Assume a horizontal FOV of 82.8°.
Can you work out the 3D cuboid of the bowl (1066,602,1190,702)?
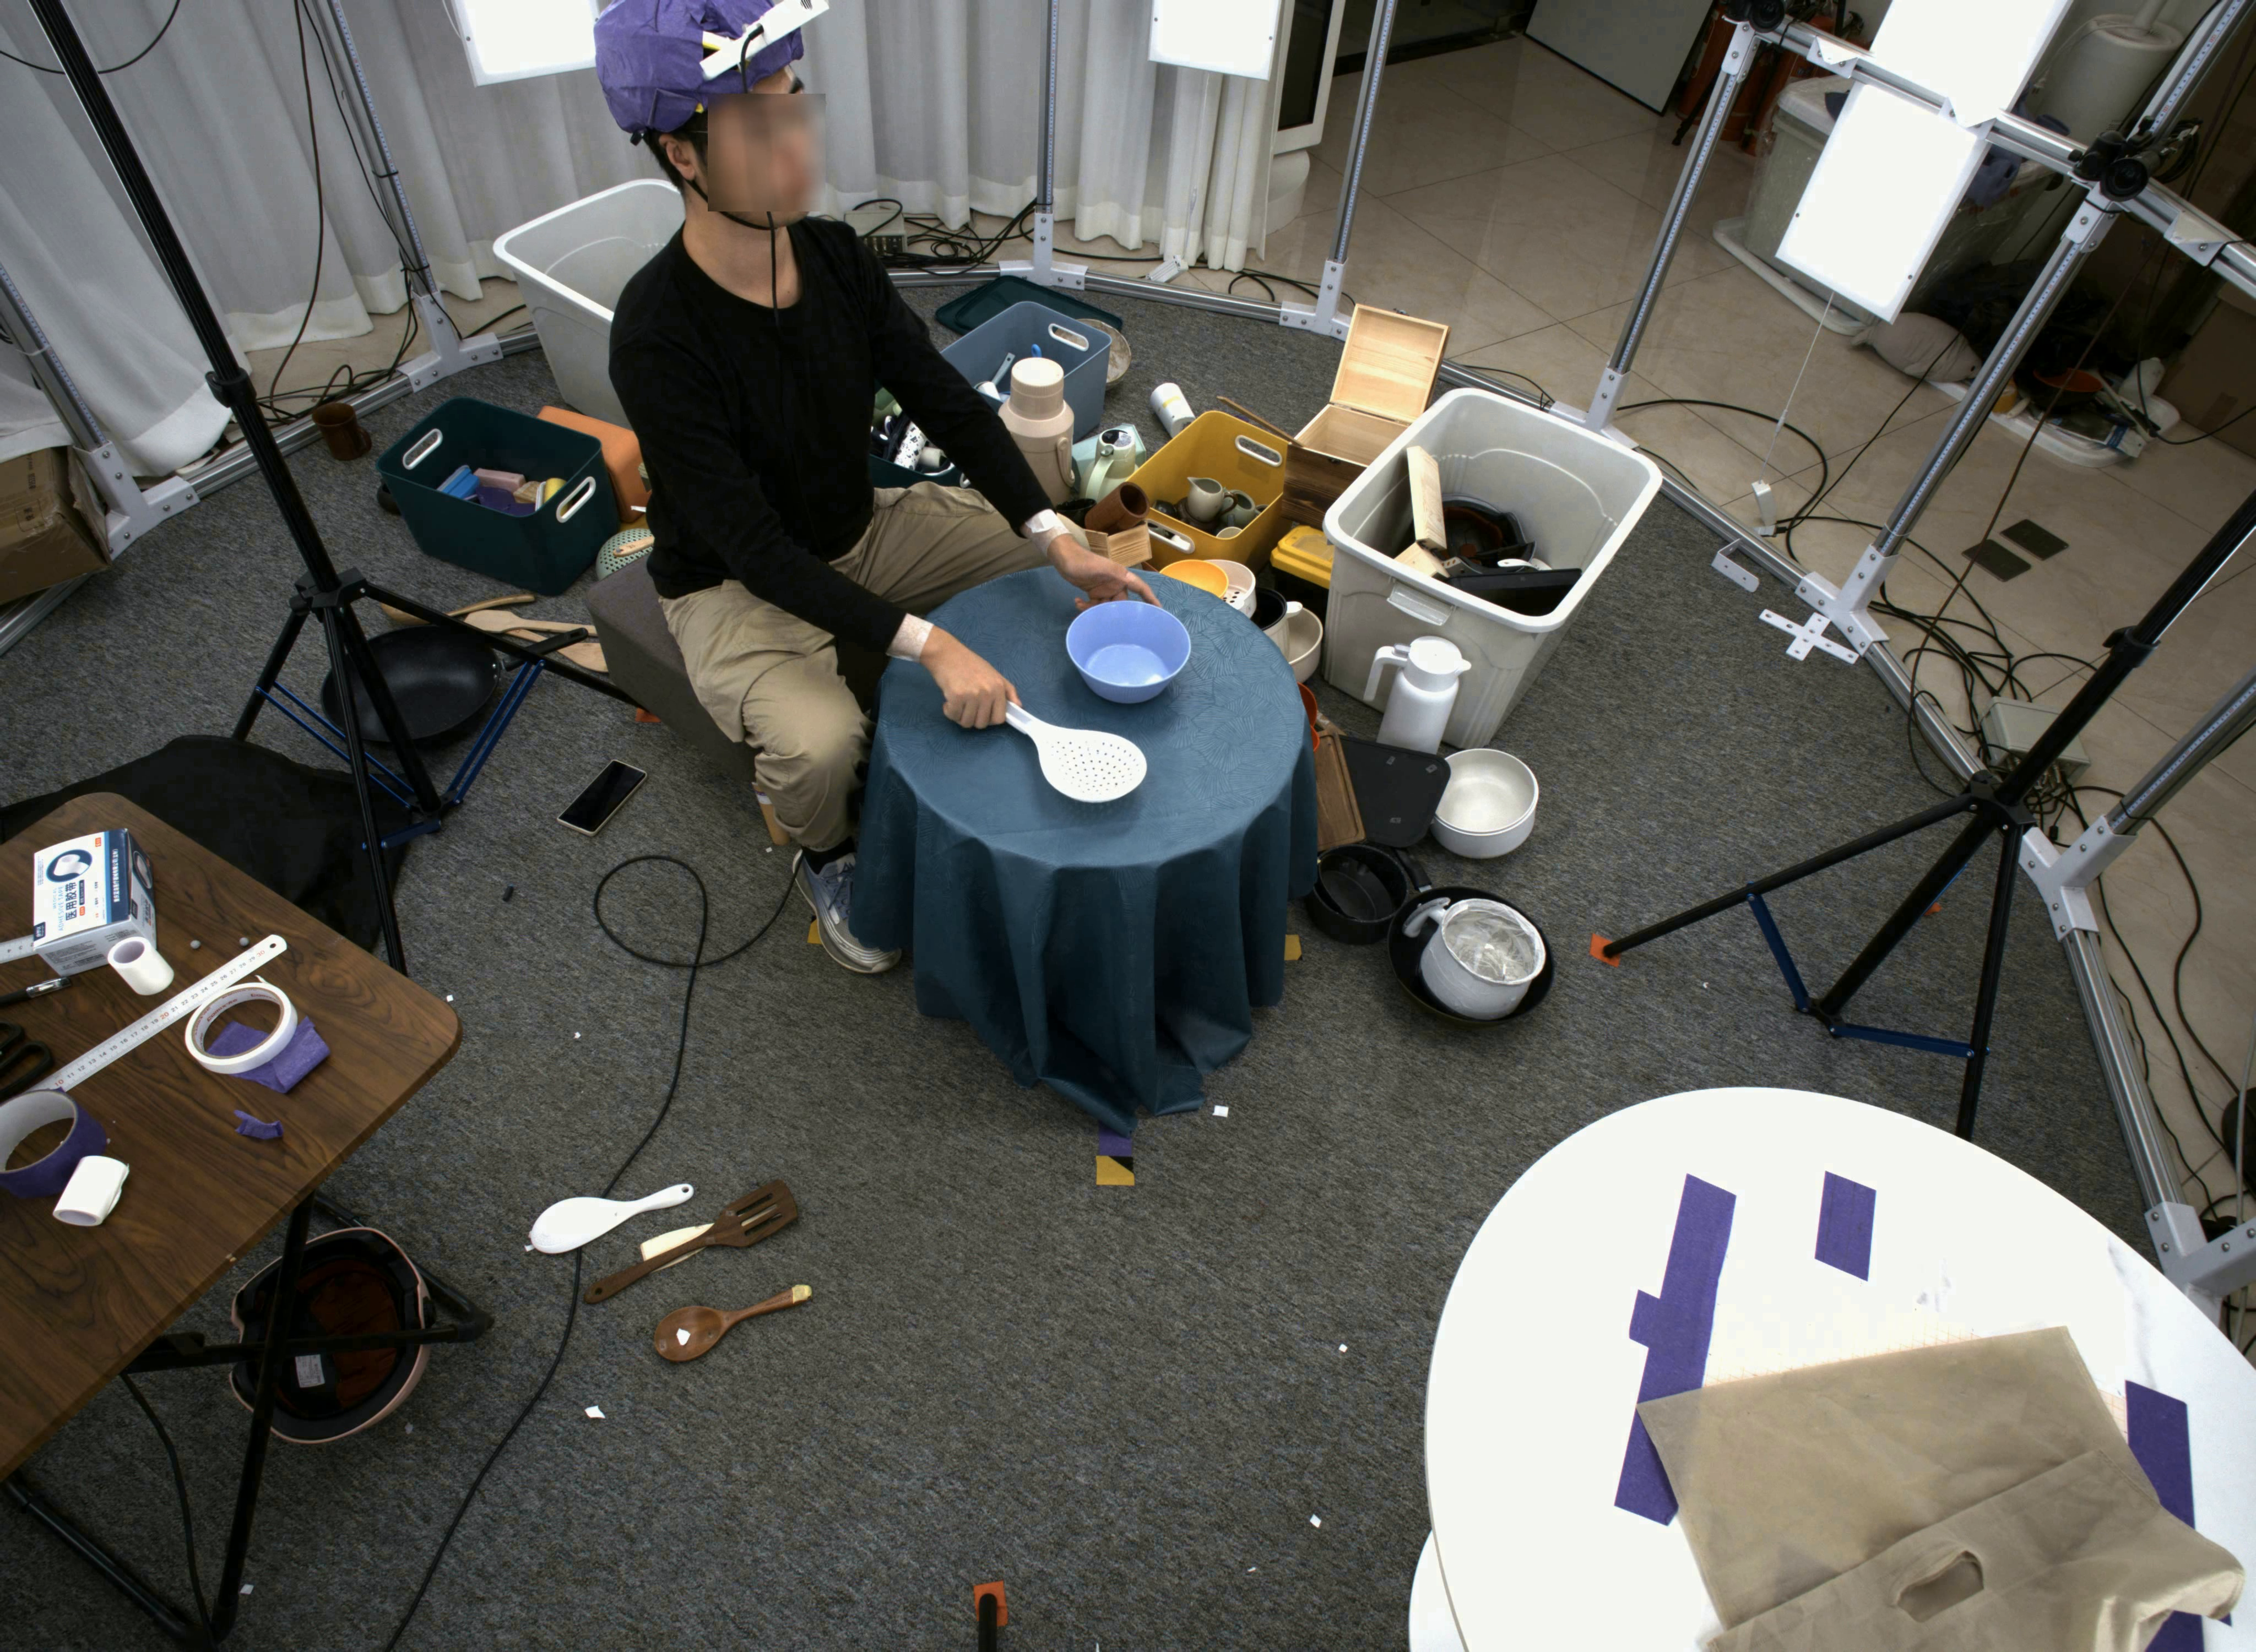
[{"bbox_3d":[-0.002,-0.240,1.832,0.176,0.068,0.180,2,48,-2],"label":"bowl"}]

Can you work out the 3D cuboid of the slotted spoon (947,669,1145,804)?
[{"bbox_3d":[-0.124,-0.128,1.743,0.355,0.044,0.137,37,55,26],"label":"slotted spoon"}]
